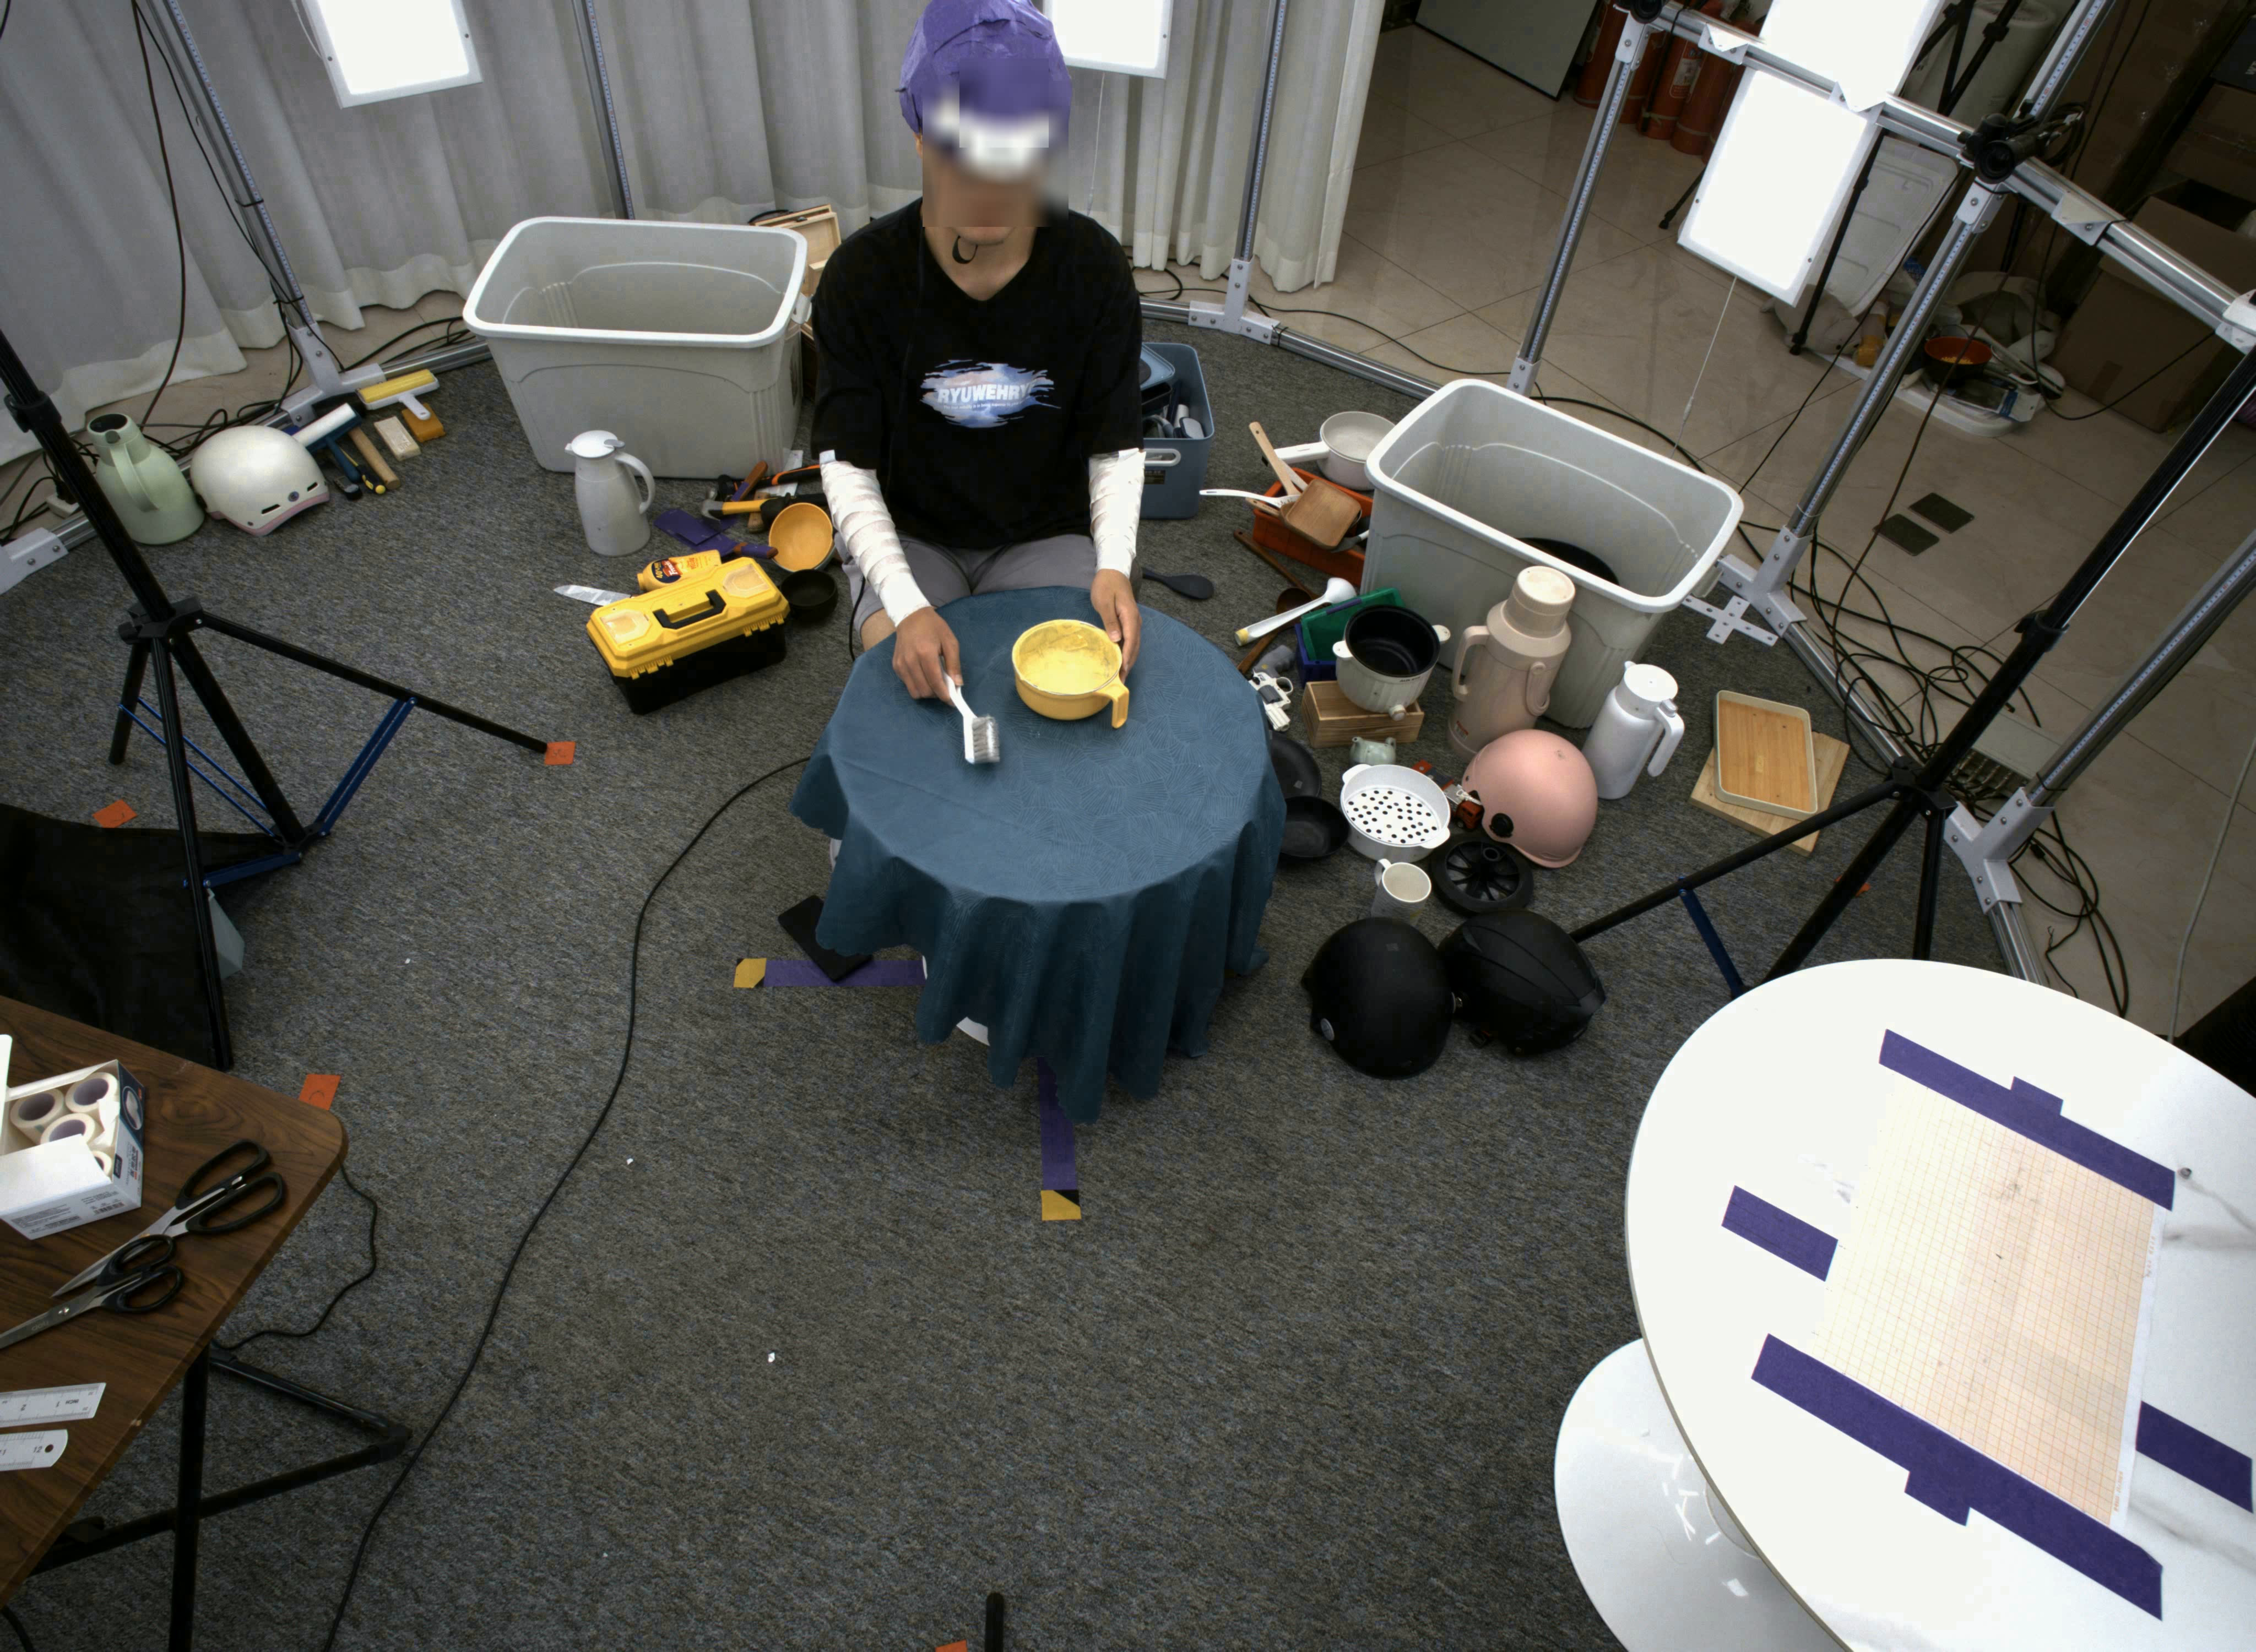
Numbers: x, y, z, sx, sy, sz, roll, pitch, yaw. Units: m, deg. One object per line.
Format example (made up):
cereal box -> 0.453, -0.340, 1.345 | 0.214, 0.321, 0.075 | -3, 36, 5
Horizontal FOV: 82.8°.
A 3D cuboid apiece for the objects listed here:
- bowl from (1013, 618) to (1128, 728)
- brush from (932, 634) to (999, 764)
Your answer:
bowl -> -0.076, -0.210, 1.805 | 0.181, 0.072, 0.155 | 33, 51, 21
brush -> -0.223, -0.186, 1.772 | 0.050, 0.034, 0.249 | -36, 54, 22
